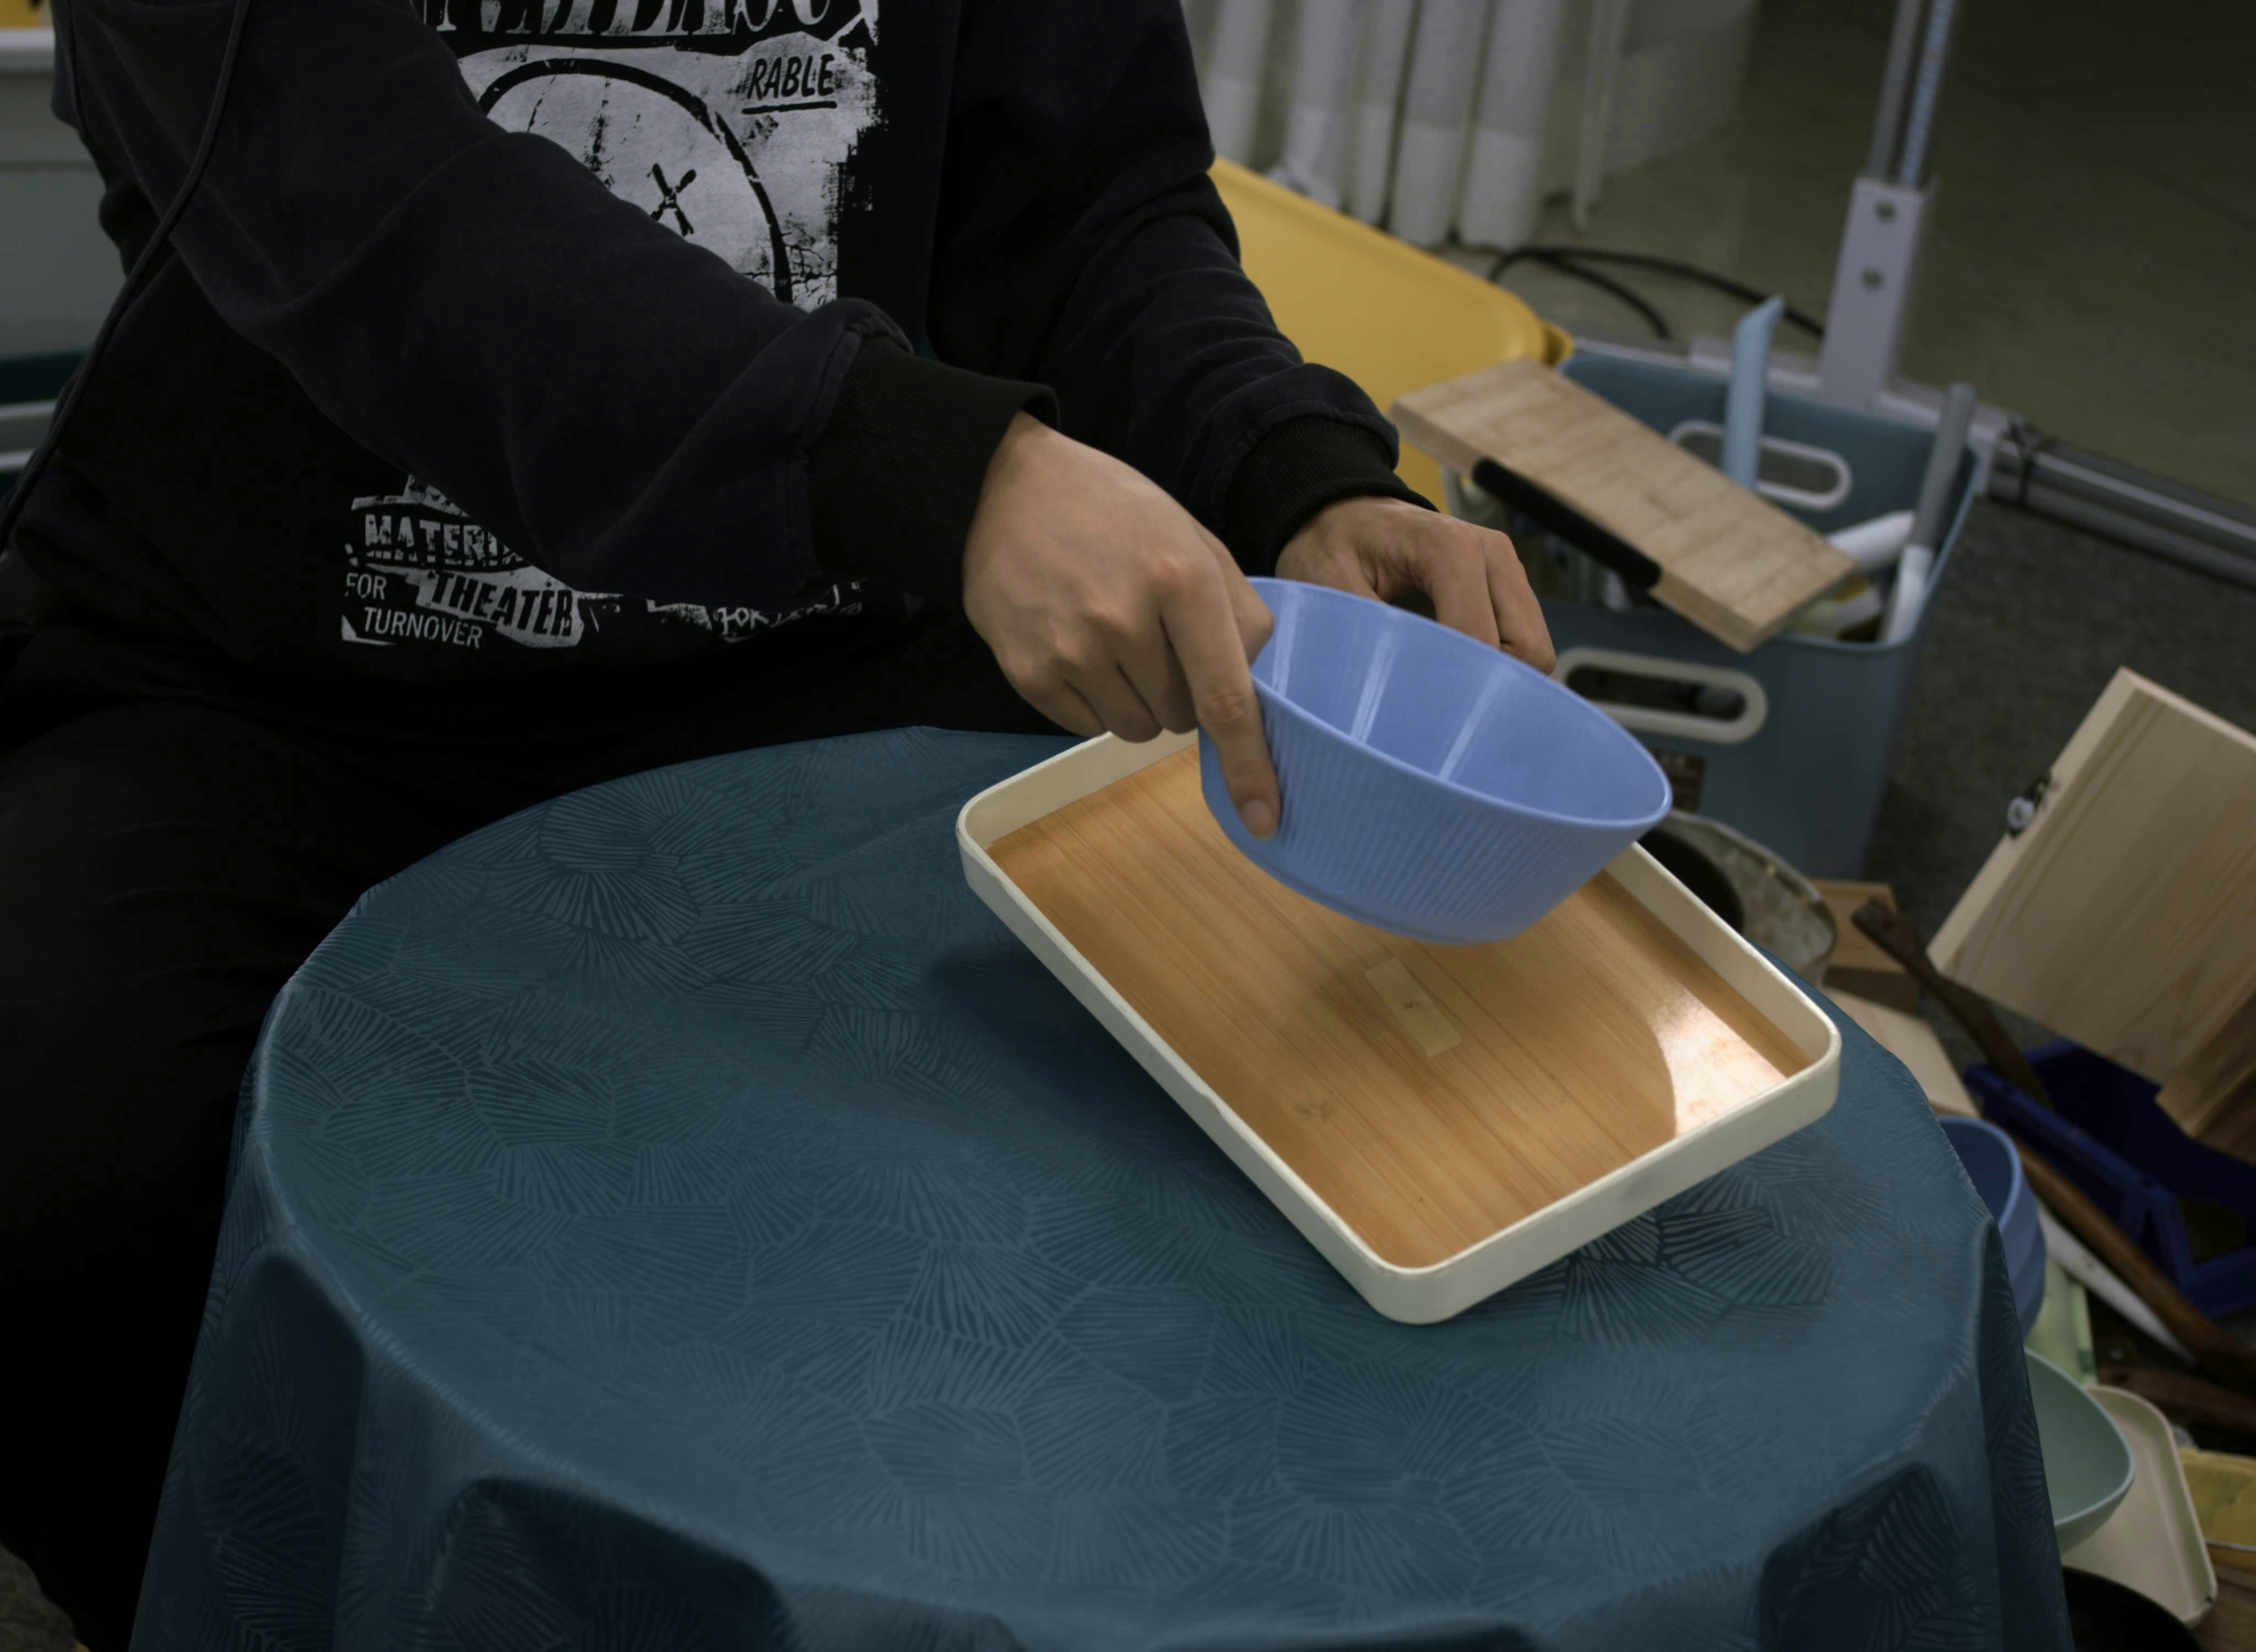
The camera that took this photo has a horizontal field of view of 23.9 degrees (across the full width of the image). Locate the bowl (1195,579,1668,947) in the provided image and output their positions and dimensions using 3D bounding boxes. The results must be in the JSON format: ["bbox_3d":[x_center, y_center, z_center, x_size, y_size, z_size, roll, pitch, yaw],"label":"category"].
[{"bbox_3d":[0.091,-0.015,1.813,0.175,0.070,0.177,22,18,-8],"label":"bowl"}]

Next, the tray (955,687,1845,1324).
[{"bbox_3d":[0.090,0.045,1.861,0.191,0.027,0.303,-26,44,-20],"label":"tray"}]
